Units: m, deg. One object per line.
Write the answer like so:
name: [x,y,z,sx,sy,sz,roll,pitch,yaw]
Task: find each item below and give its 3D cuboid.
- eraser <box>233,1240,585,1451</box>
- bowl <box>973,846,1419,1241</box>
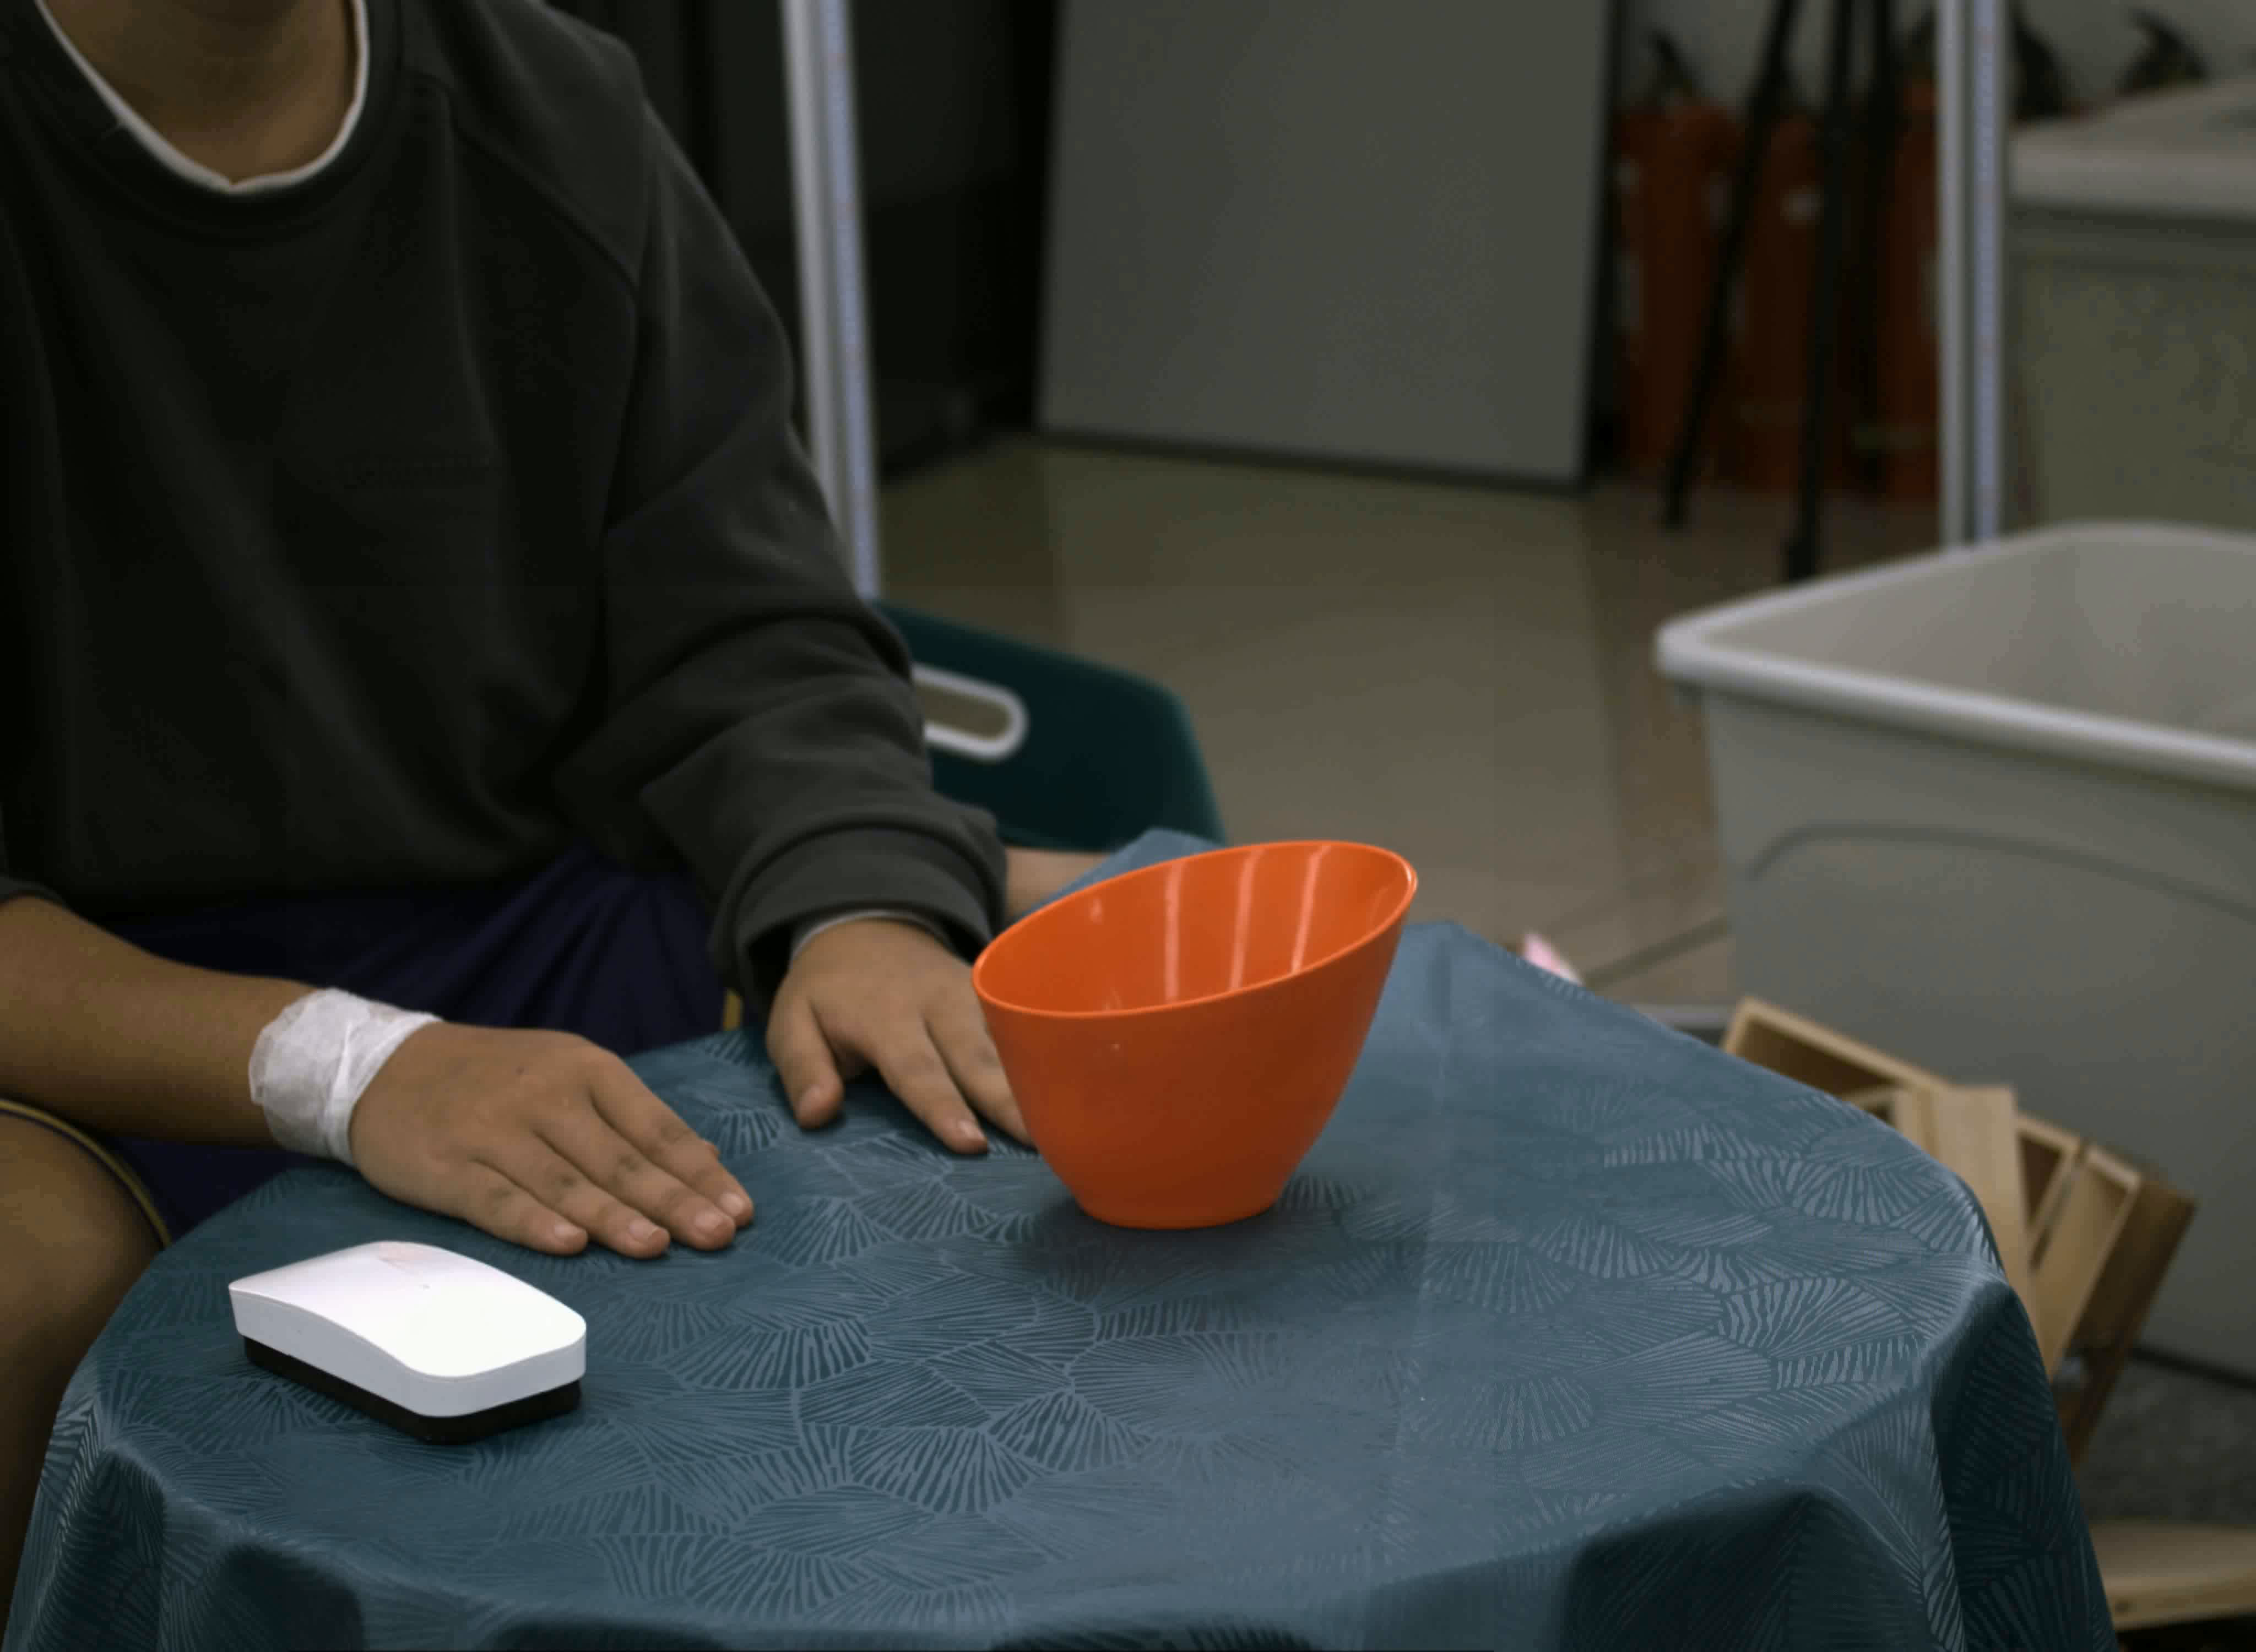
eraser: [-0.216,0.153,1.633,0.062,0.035,0.133,-12,17,-34]
bowl: [0.025,0.073,1.747,0.146,0.106,0.148,-5,14,0]
